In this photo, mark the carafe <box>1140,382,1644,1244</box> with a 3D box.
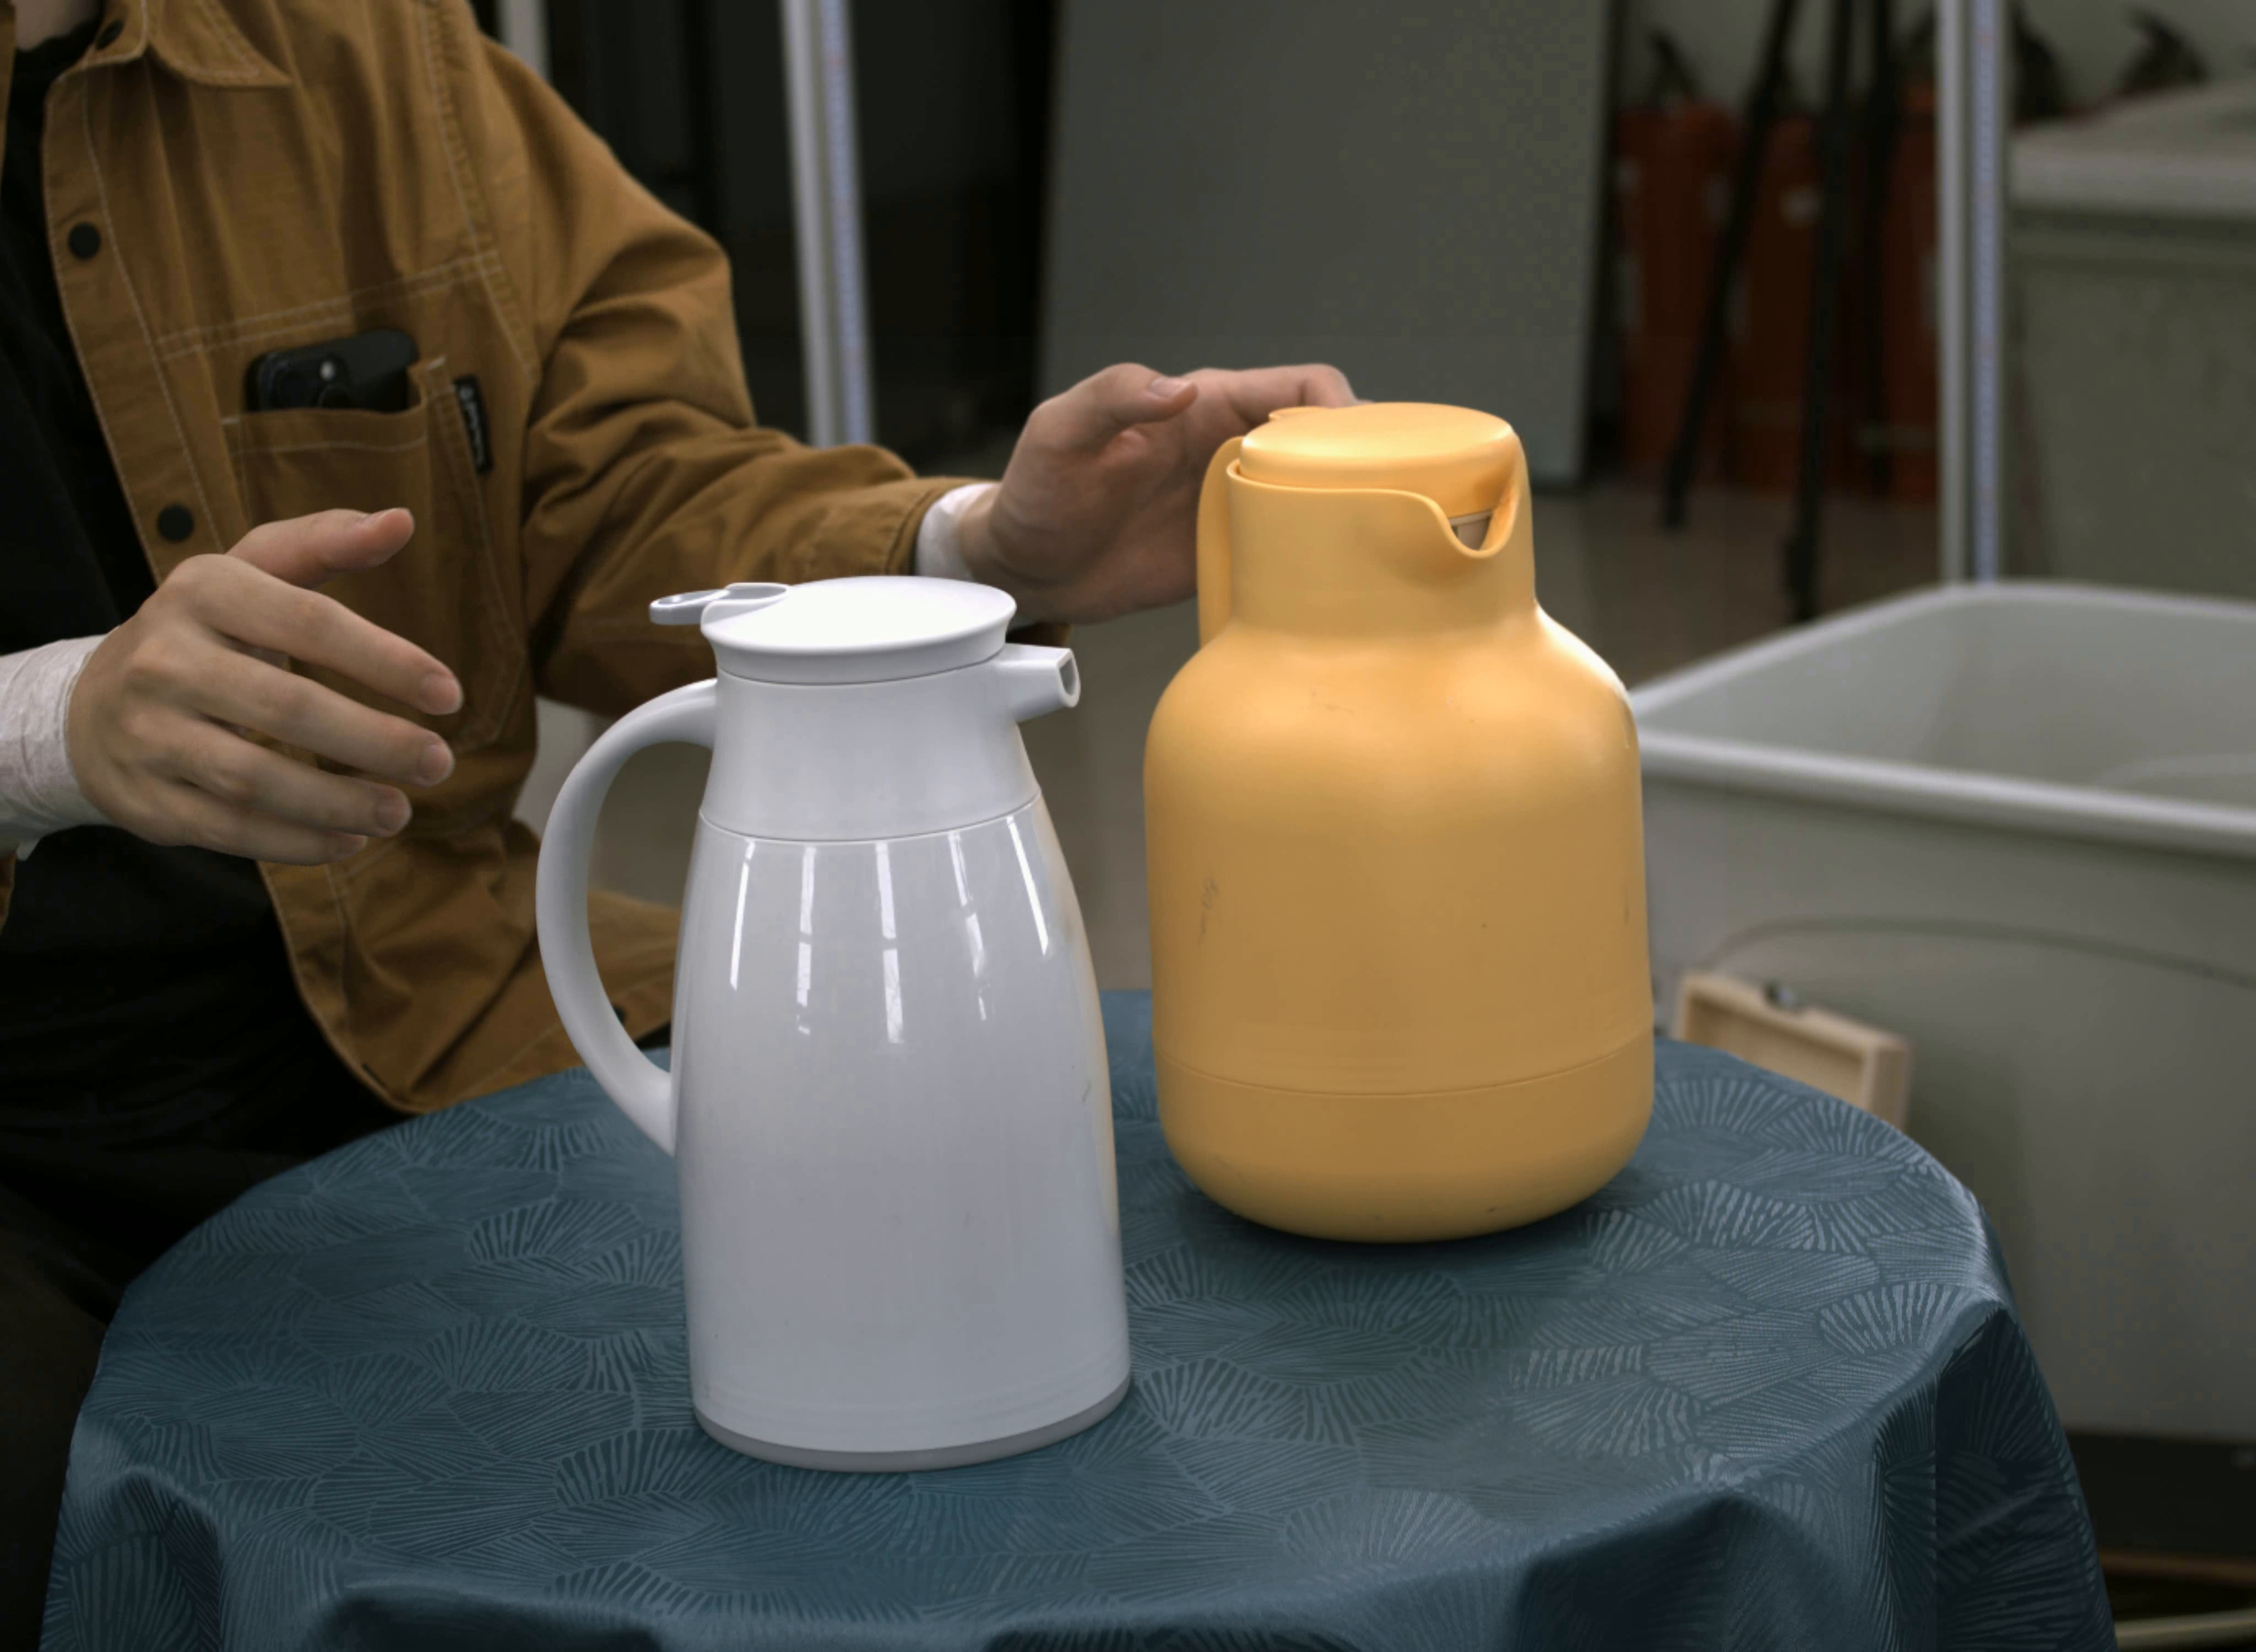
[{"bbox_3d":[0.077,-0.012,1.741,0.160,0.263,0.204,-7,15,-20],"label":"carafe"}]

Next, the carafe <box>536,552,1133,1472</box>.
[{"bbox_3d":[-0.089,0.048,1.574,0.167,0.251,0.131,-1,14,15],"label":"carafe"}]
